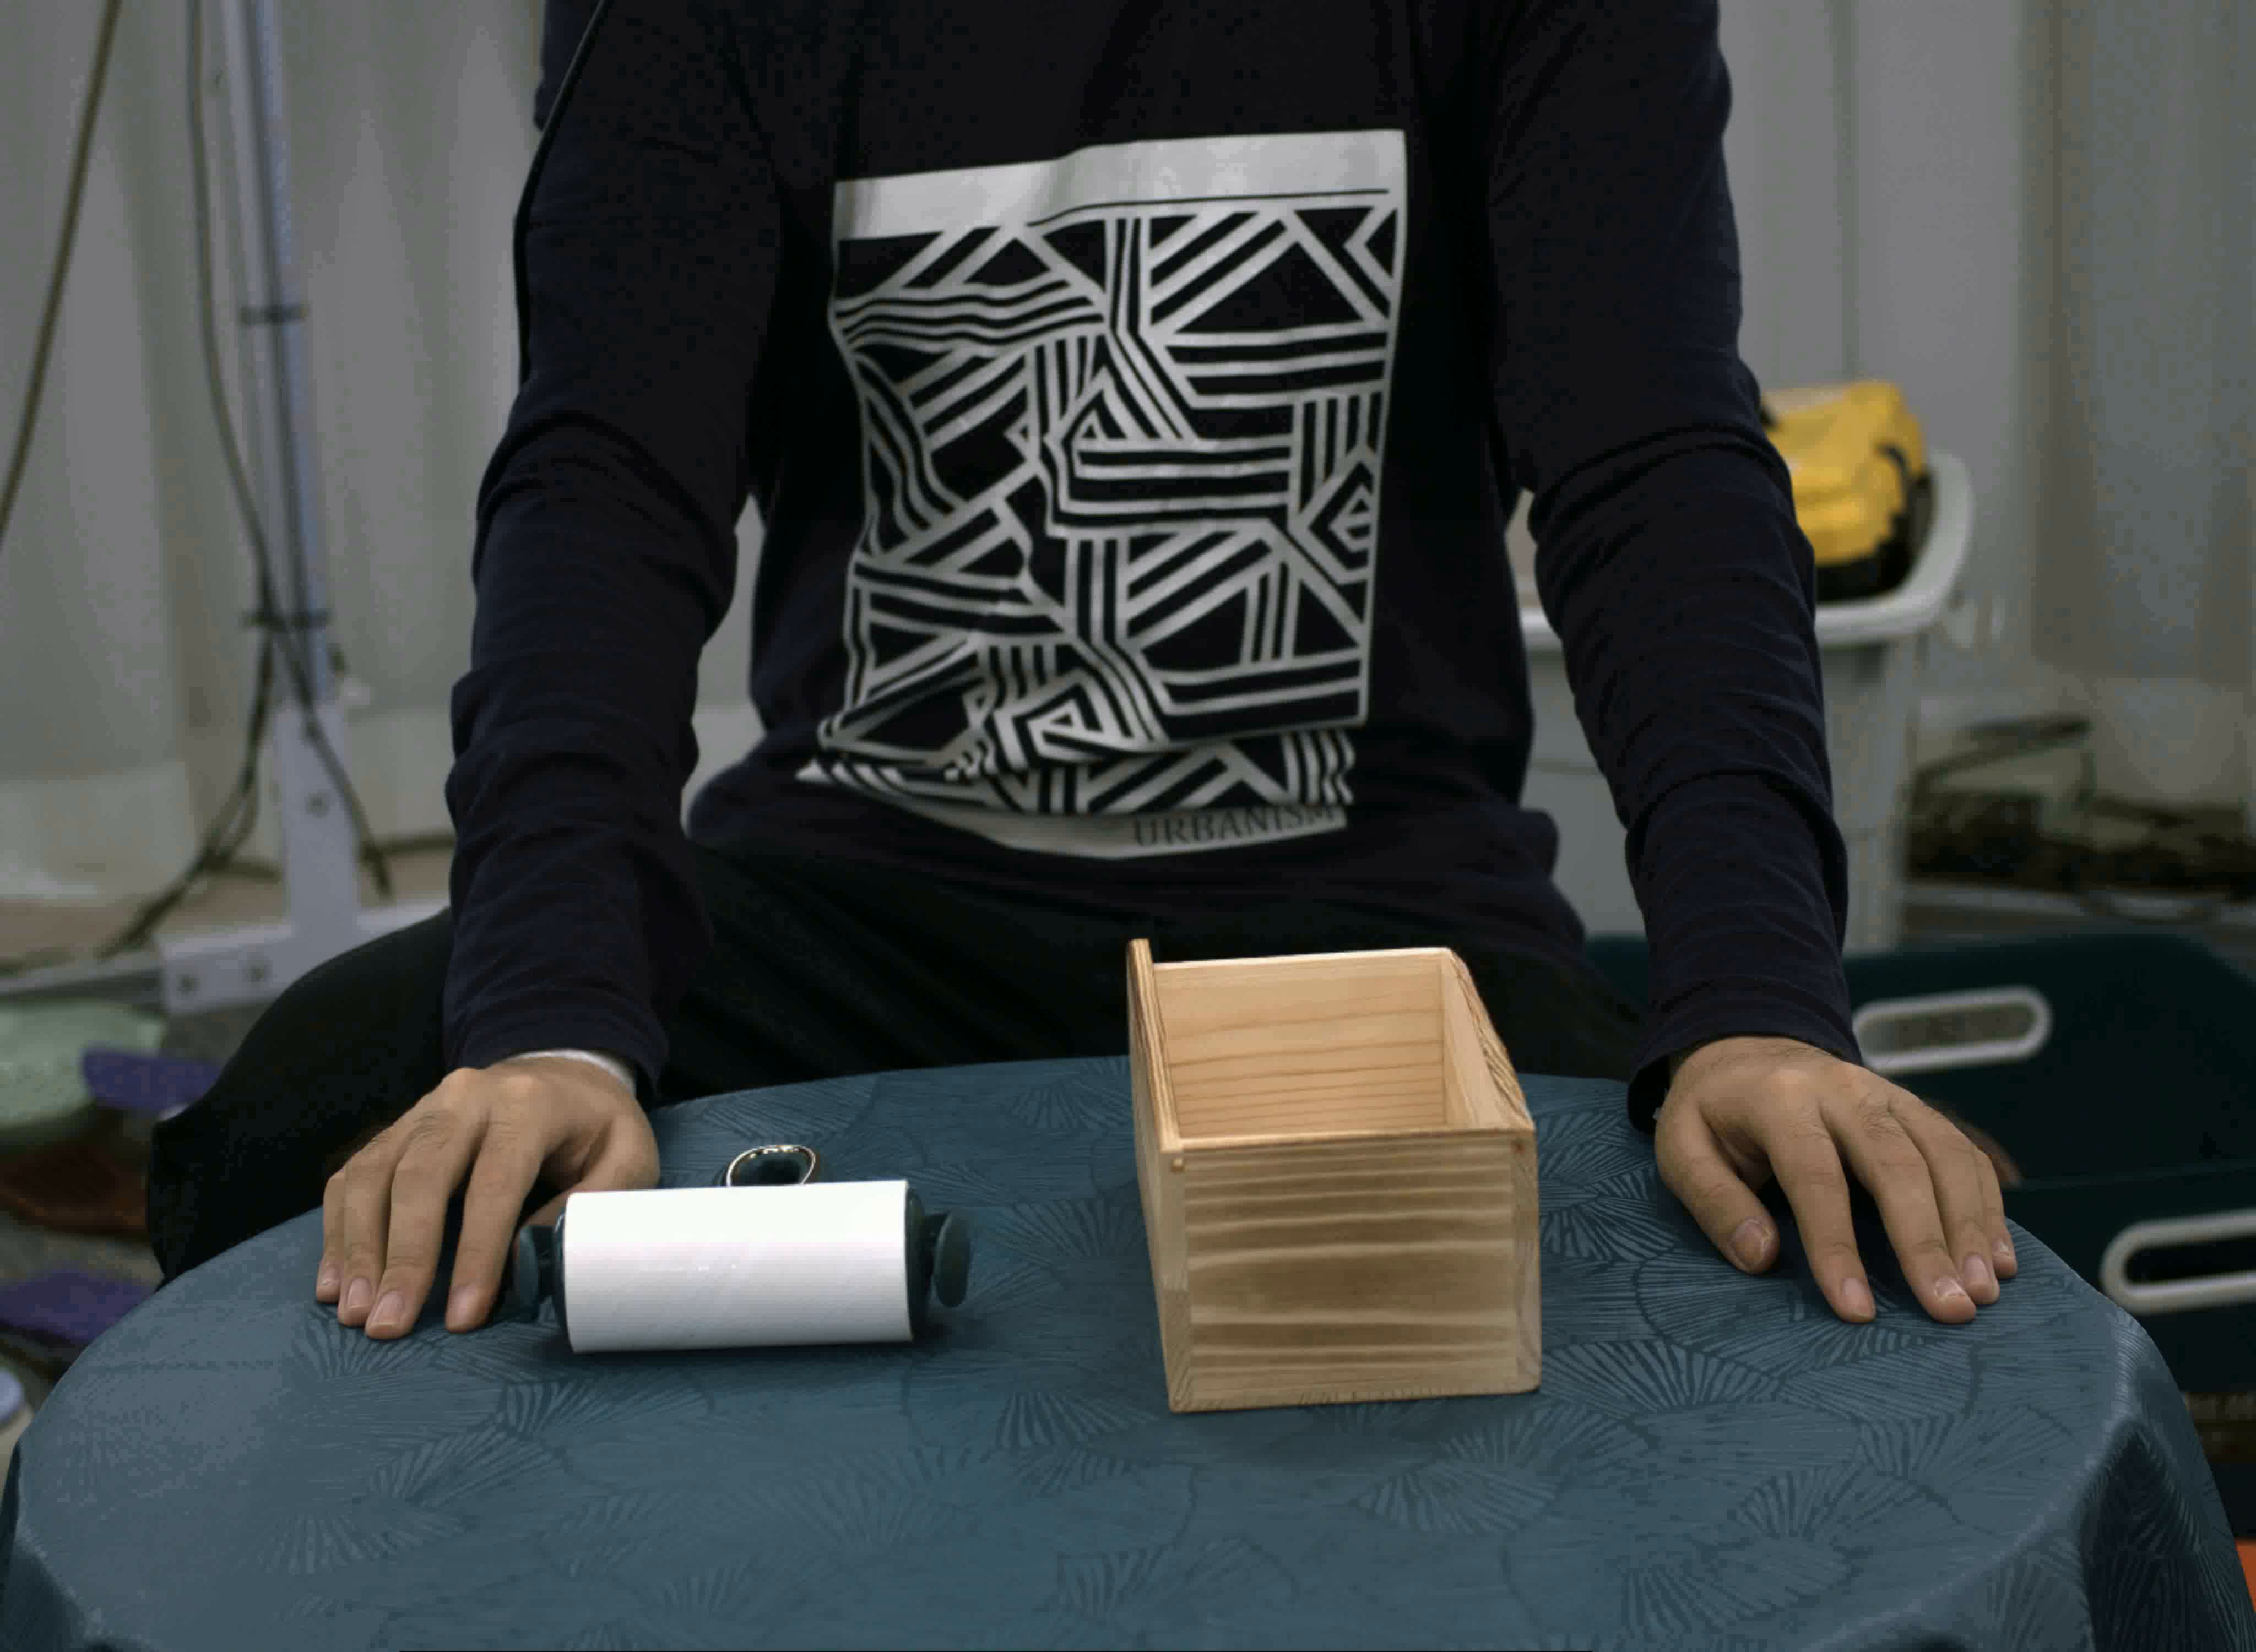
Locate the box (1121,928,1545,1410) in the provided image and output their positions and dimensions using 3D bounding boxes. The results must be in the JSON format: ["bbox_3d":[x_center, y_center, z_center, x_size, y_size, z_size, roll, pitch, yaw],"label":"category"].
[{"bbox_3d":[0.057,0.098,1.617,0.107,0.080,0.213,-4,13,-2],"label":"box"}]

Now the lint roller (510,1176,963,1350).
[{"bbox_3d":[-0.113,0.116,1.660,0.134,0.048,0.181,-3,10,1],"label":"lint roller"}]
